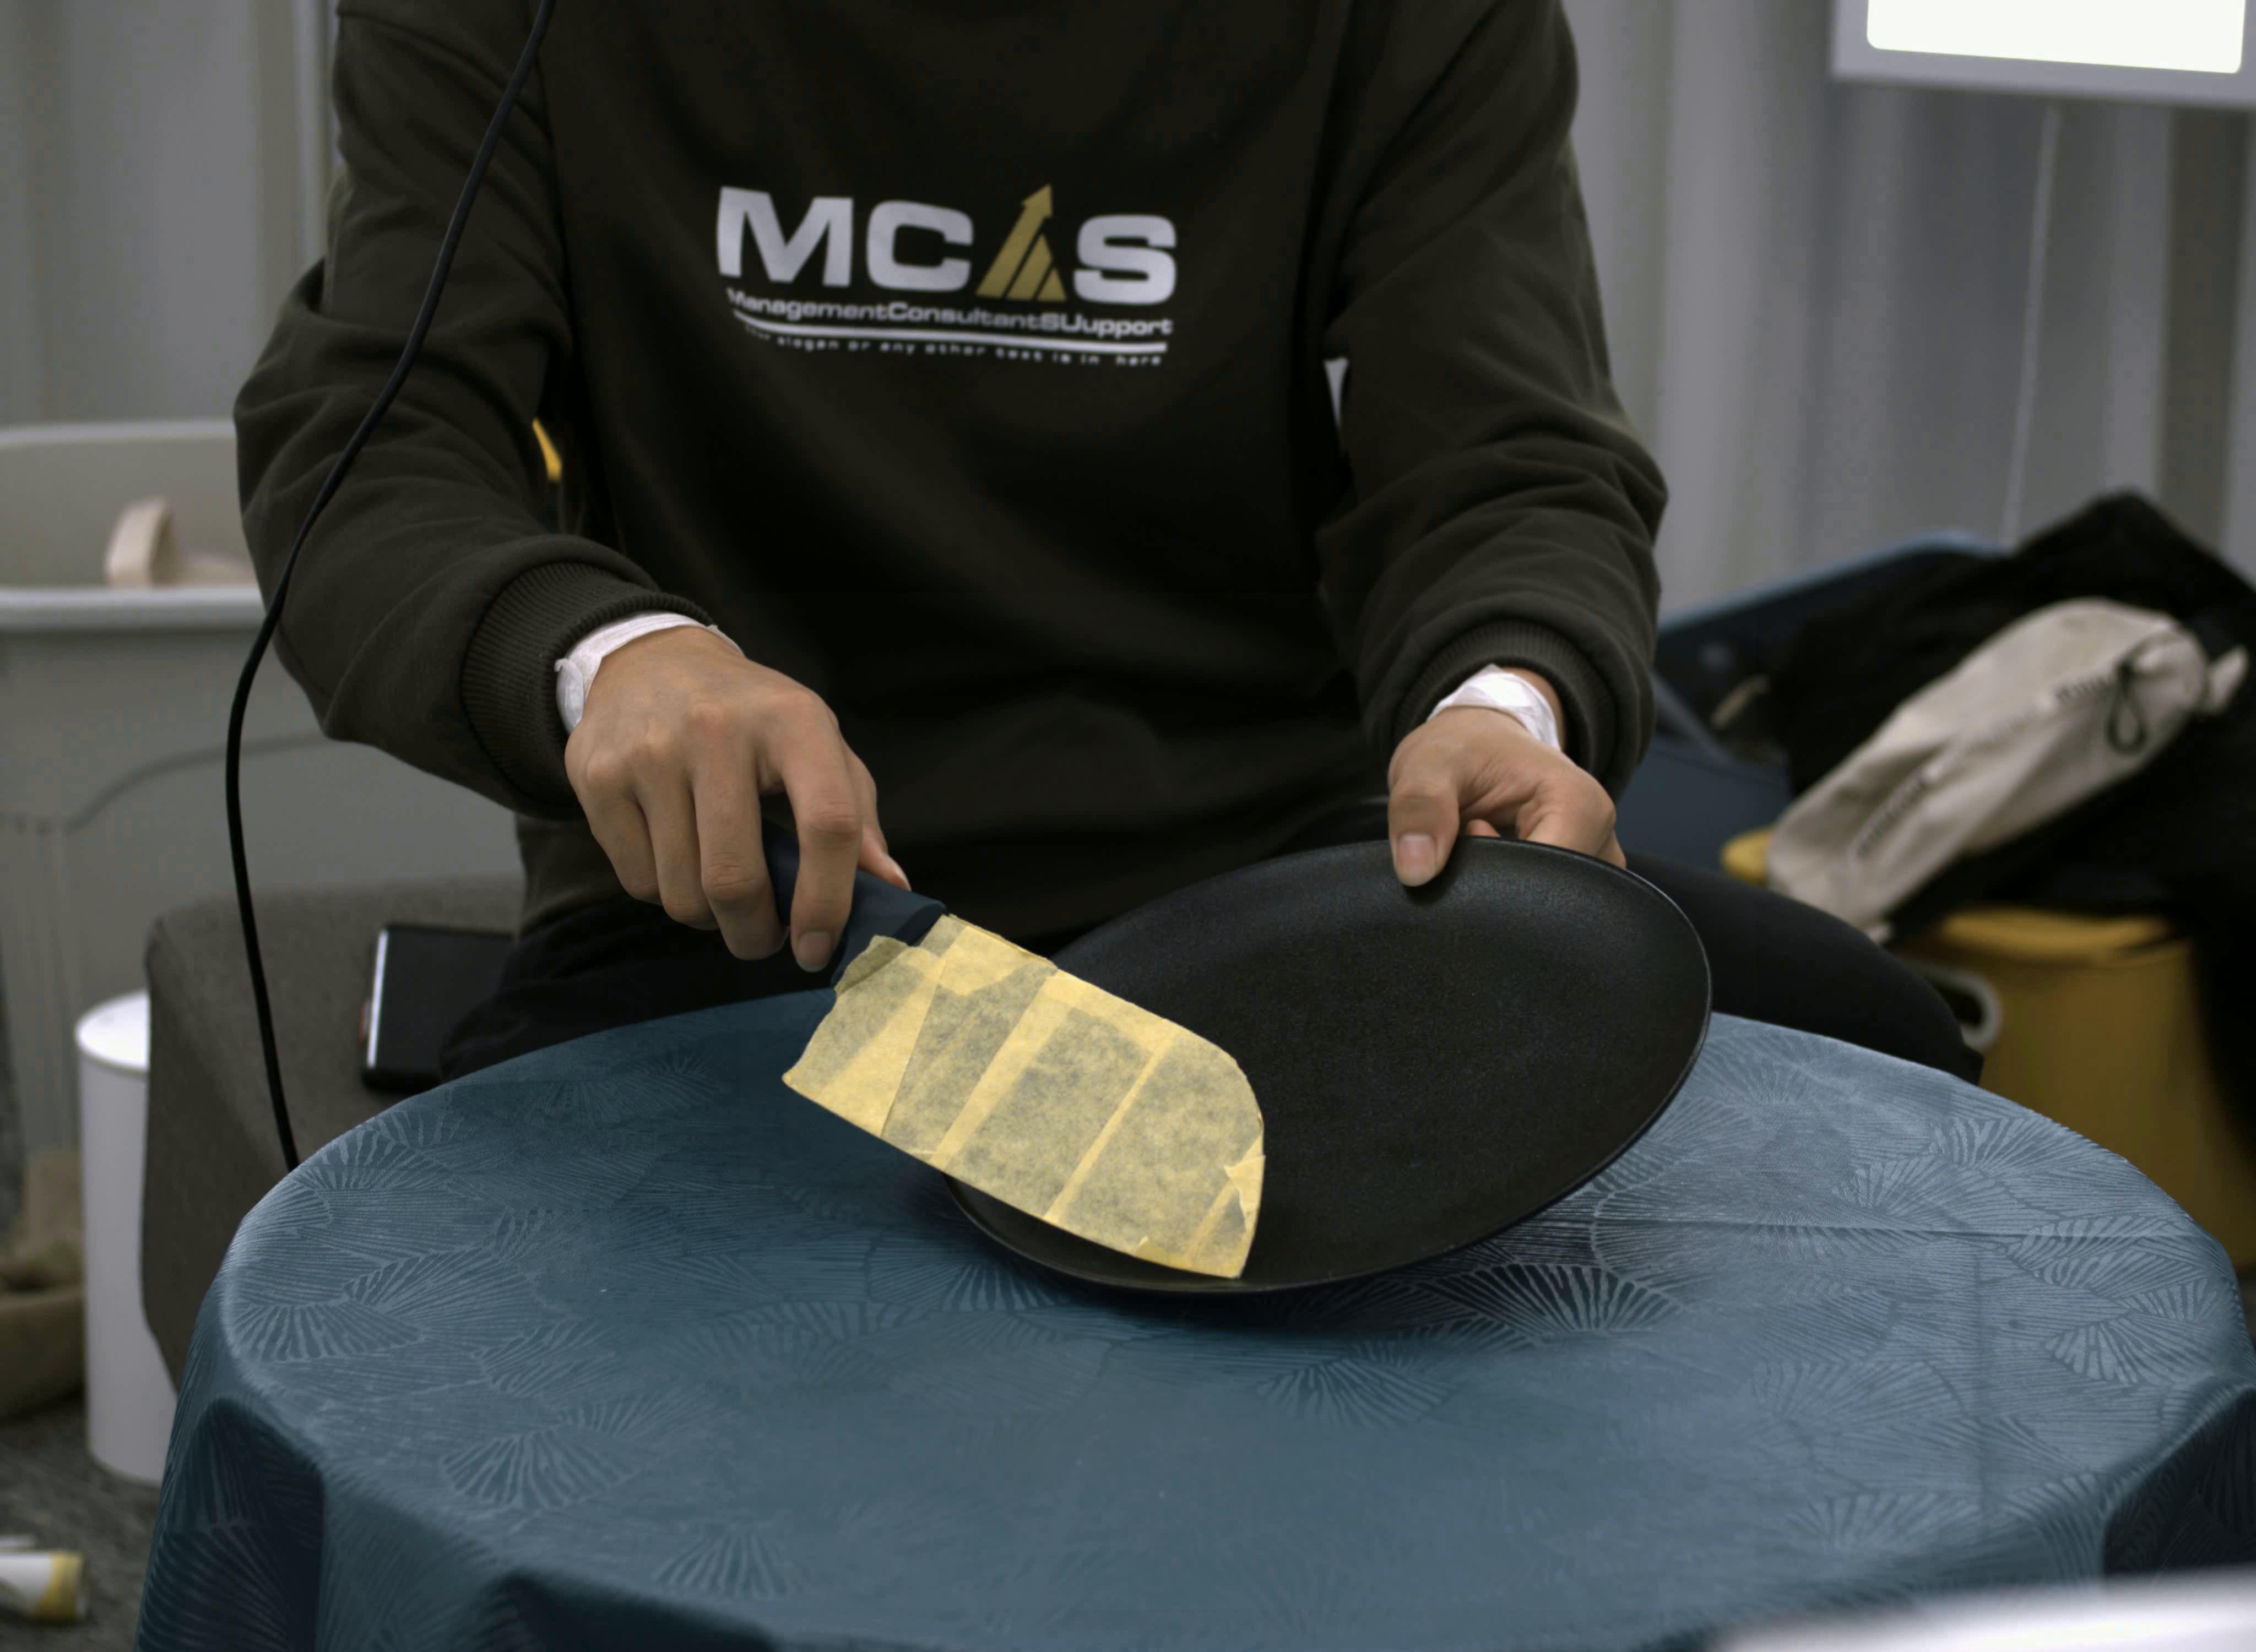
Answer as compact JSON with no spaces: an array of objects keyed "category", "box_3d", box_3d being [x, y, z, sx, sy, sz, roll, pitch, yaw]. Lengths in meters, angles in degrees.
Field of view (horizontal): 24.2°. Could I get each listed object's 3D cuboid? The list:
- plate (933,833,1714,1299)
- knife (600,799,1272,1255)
[{"category":"plate","box_3d":[0.060,0.077,1.603,0.243,0.024,0.242,-11,30,7]},{"category":"knife","box_3d":[-0.066,0.058,1.600,0.285,0.027,0.081,27,72,35]}]
